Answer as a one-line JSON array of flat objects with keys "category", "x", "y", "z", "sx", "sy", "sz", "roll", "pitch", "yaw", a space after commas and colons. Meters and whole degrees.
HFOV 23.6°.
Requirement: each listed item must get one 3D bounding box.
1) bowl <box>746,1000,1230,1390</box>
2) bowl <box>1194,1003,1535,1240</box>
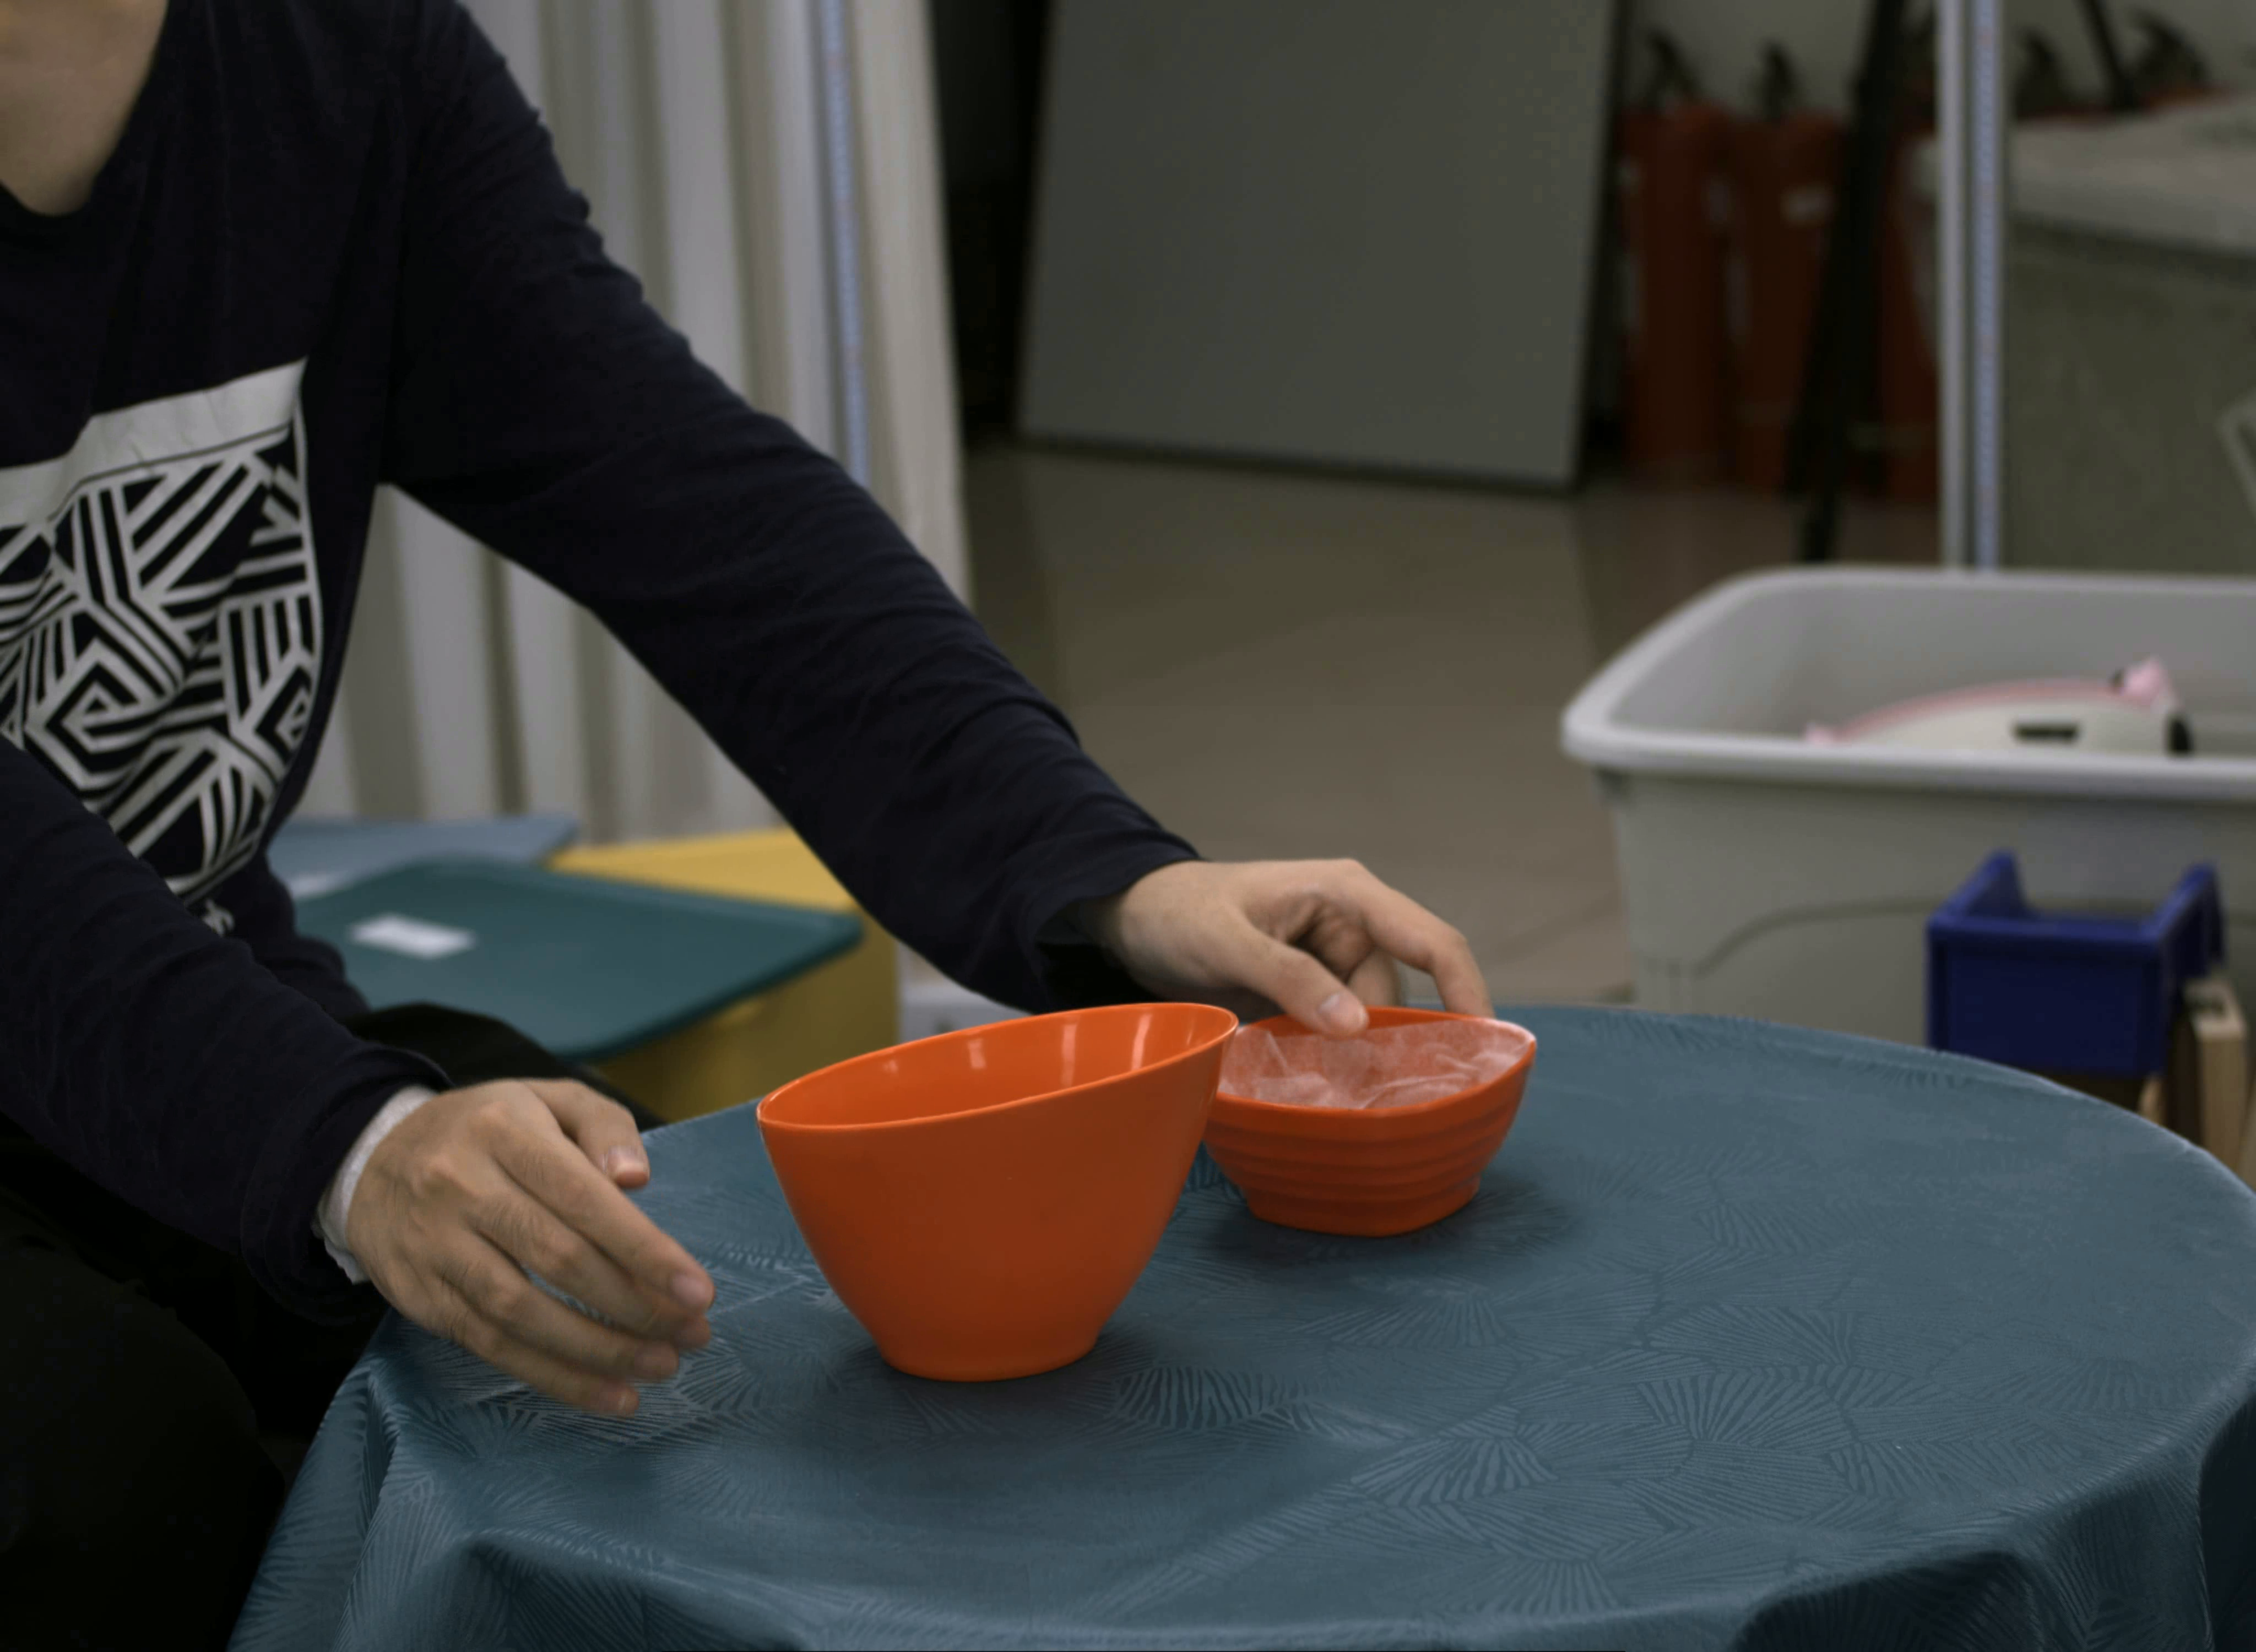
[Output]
[{"category": "bowl", "x": -0.039, "y": 0.110, "z": 1.614, "sx": 0.146, "sy": 0.106, "sz": 0.148, "roll": -4, "pitch": 14, "yaw": 0}, {"category": "bowl", "x": 0.075, "y": 0.098, "z": 1.741, "sx": 0.117, "sy": 0.052, "sz": 0.119, "roll": -5, "pitch": 15, "yaw": 0}]
